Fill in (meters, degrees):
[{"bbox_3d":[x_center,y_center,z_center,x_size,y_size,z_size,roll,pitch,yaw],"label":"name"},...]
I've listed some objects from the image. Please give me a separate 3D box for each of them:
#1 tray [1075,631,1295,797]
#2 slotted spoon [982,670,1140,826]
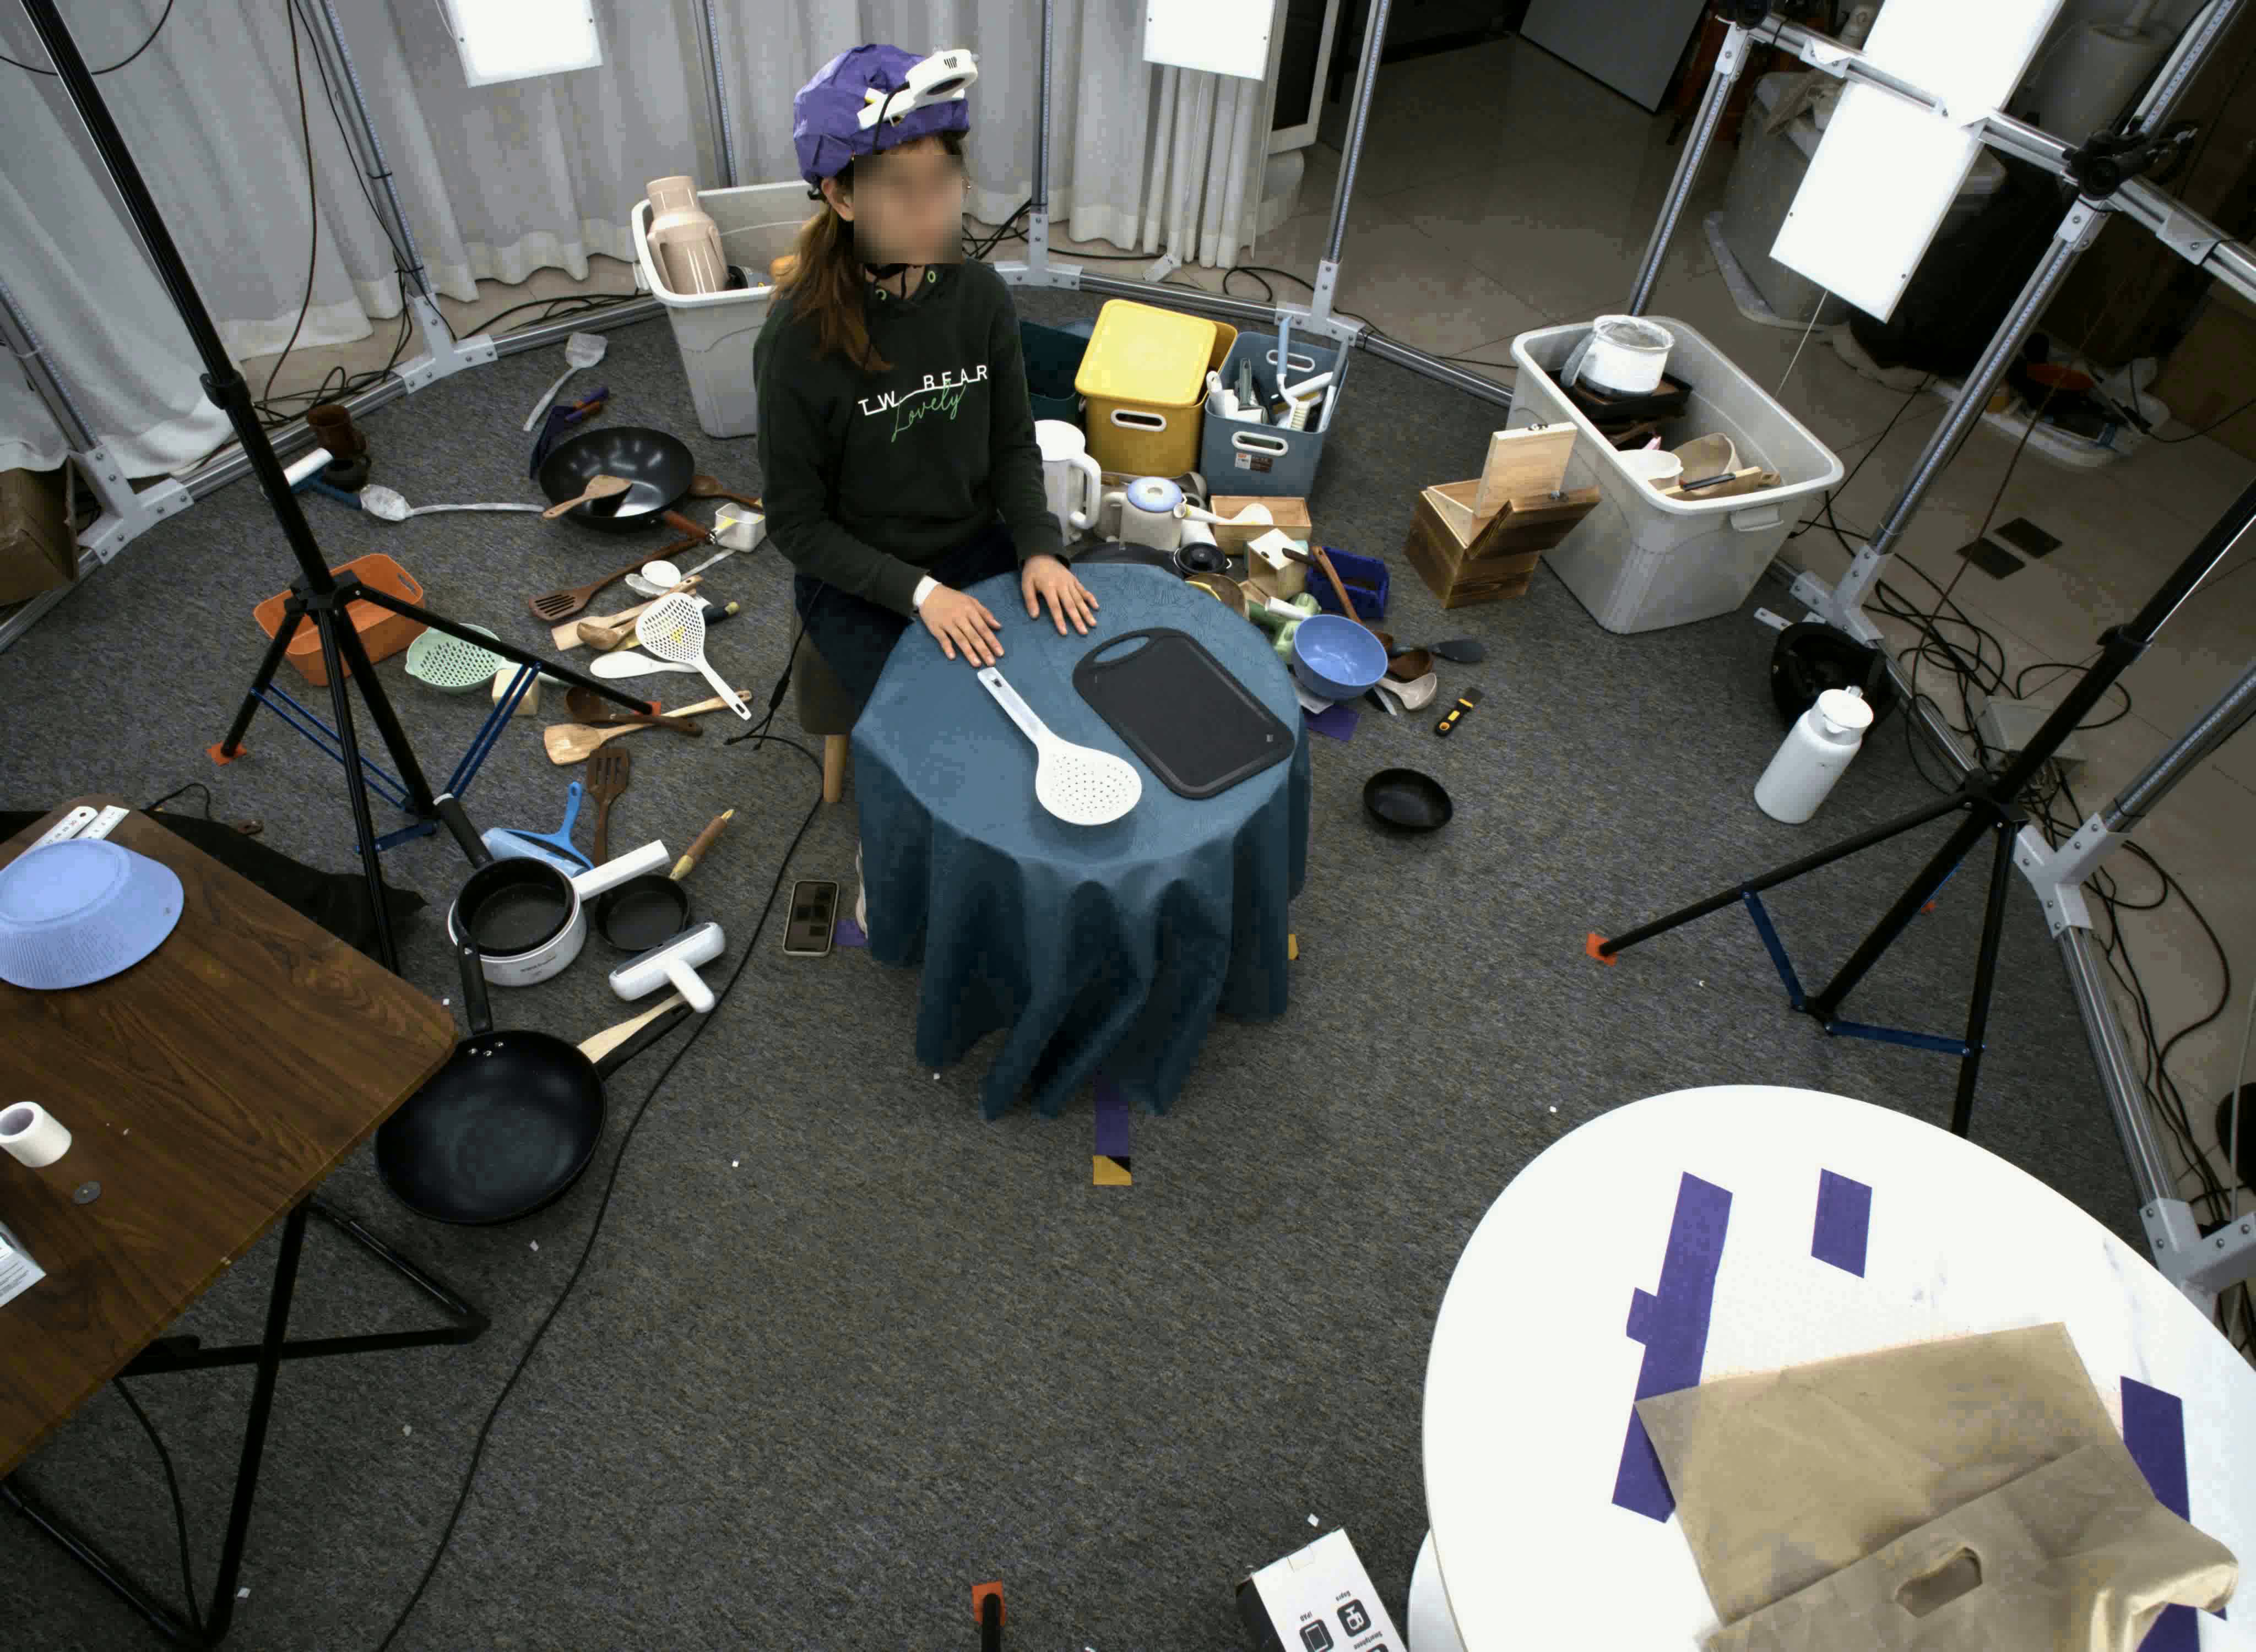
[{"bbox_3d":[0.073,-0.172,1.834,0.212,0.009,0.332,-26,55,-24],"label":"tray"},{"bbox_3d":[-0.109,-0.112,1.745,0.136,0.044,0.357,-22,53,-23],"label":"slotted spoon"}]
